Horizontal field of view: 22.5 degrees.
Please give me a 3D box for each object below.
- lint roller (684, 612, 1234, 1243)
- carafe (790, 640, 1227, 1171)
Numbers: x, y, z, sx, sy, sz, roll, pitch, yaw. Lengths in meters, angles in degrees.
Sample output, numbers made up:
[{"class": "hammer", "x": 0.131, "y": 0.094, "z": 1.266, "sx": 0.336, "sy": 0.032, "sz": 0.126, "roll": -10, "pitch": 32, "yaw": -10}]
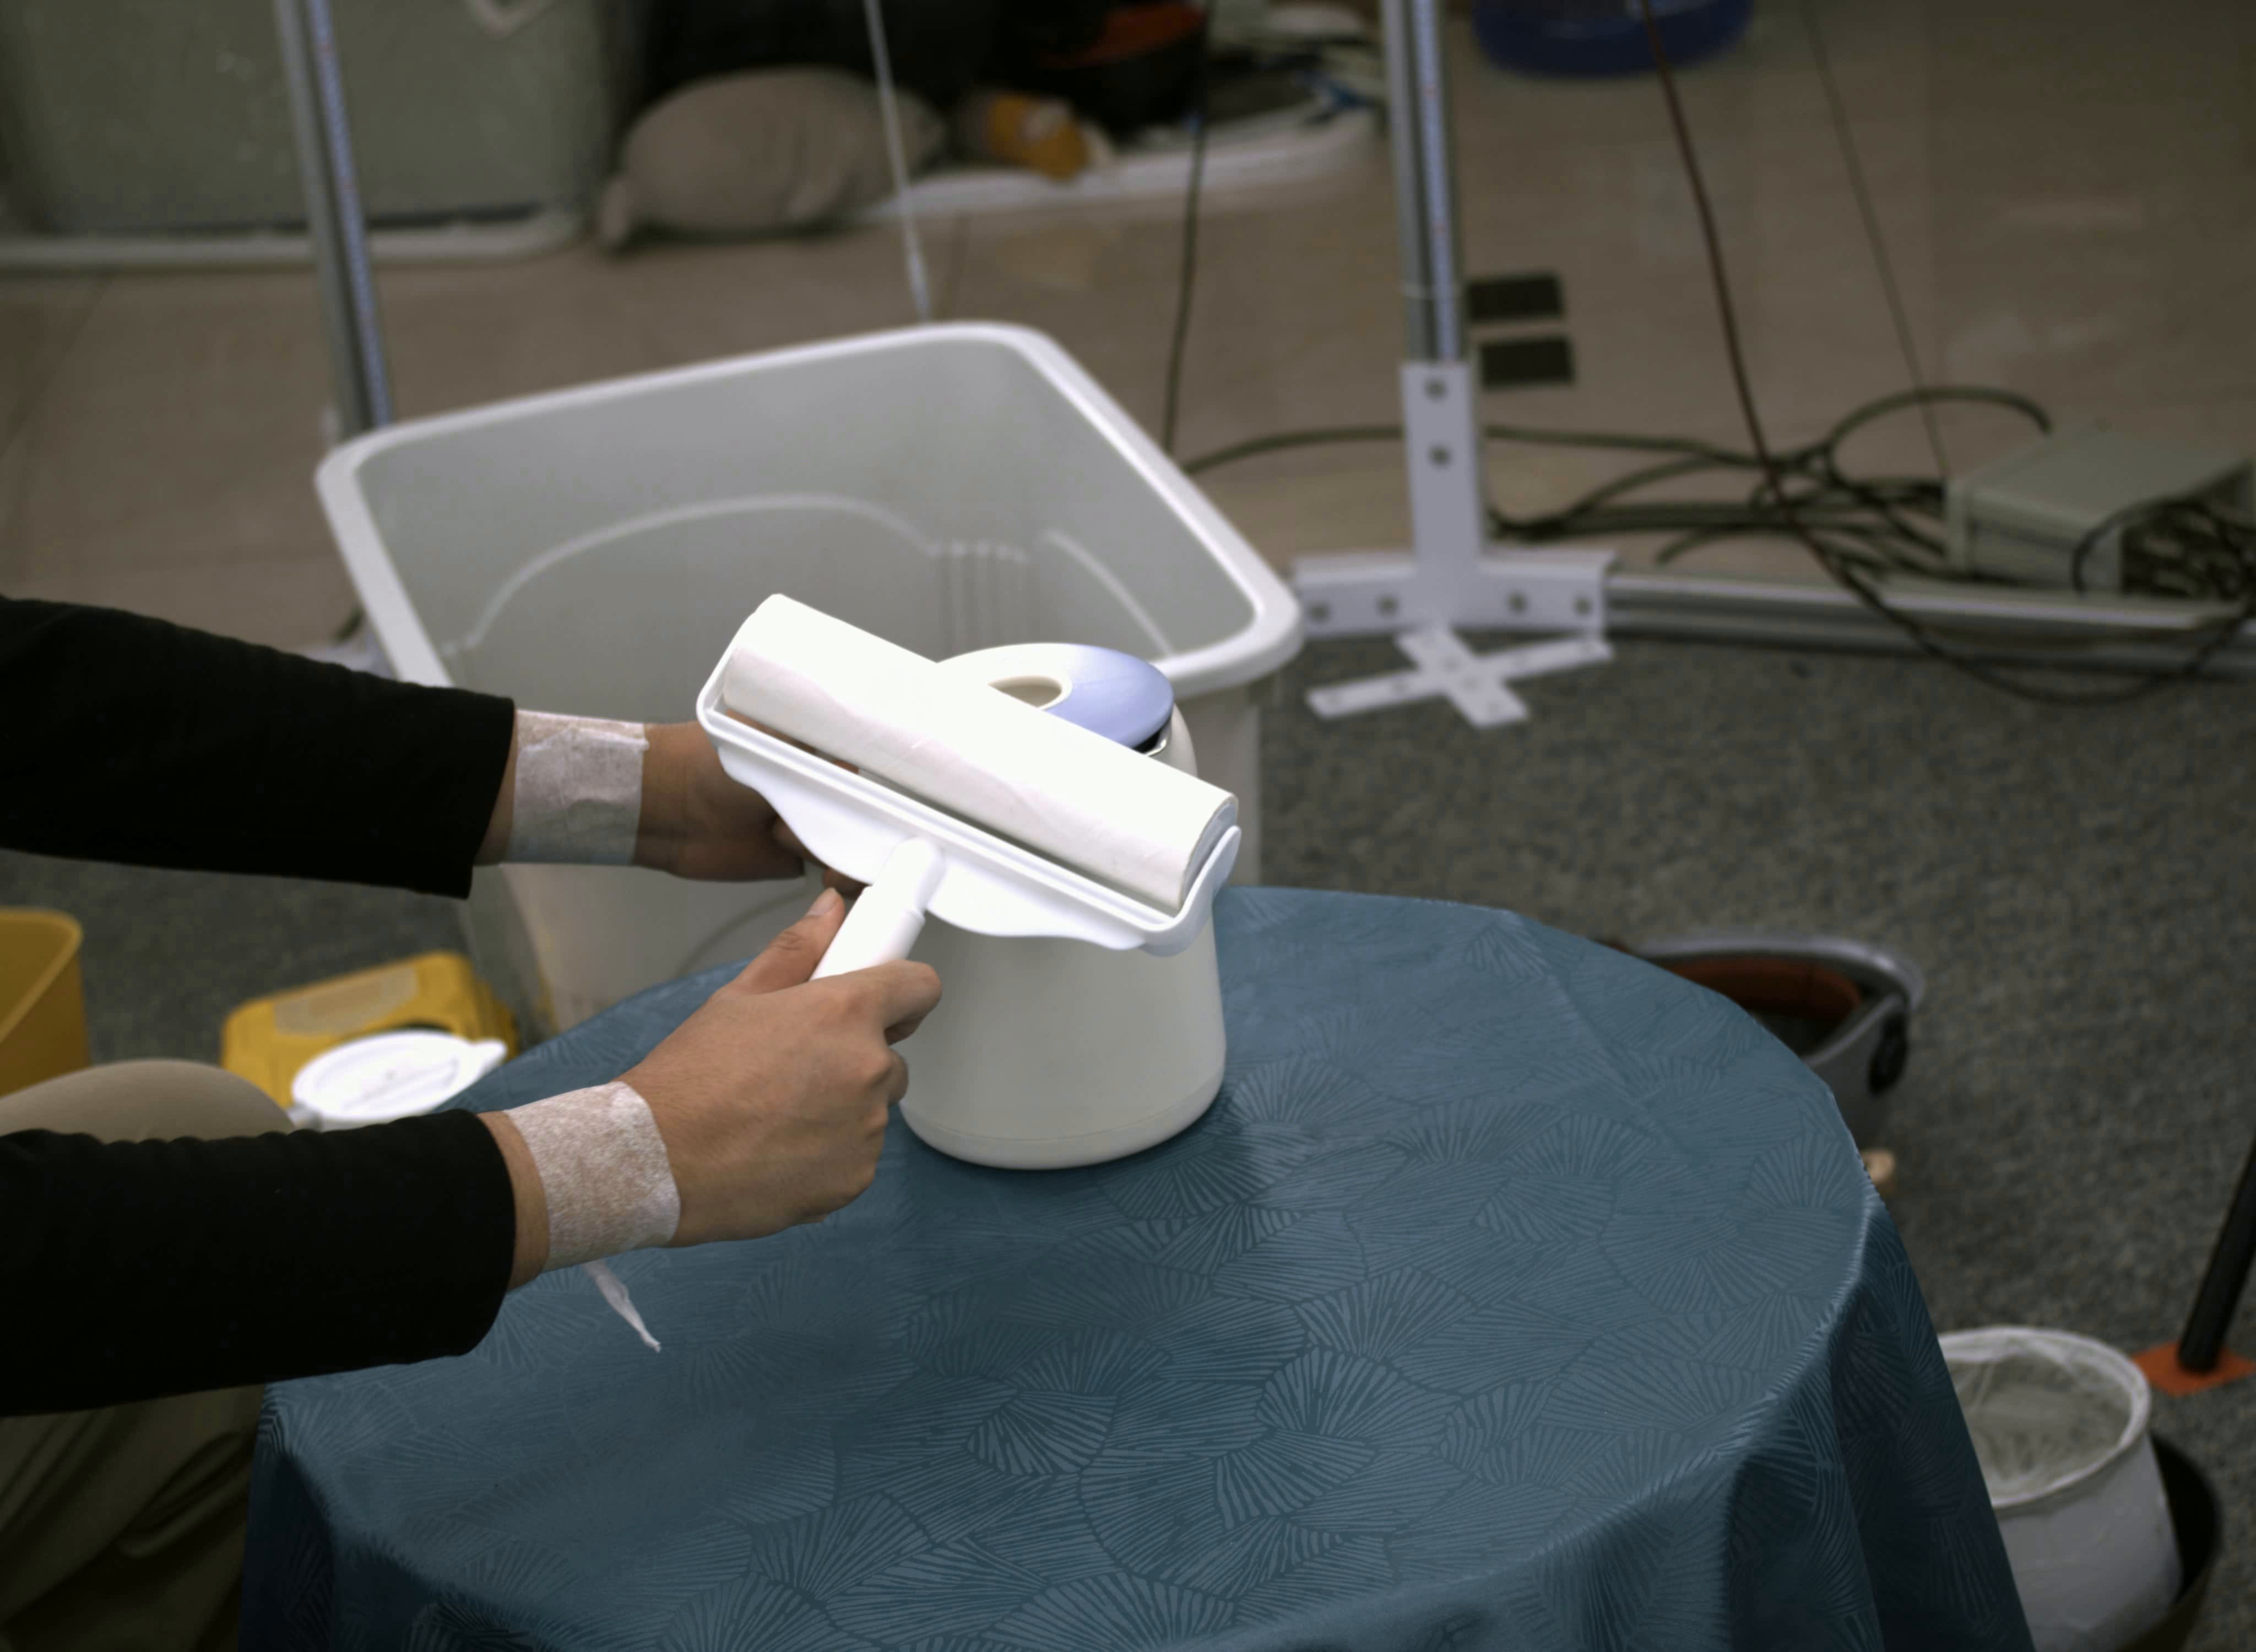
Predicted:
[{"class": "lint roller", "x": -0.097, "y": 0.049, "z": 2.026, "sx": 0.202, "sy": 0.049, "sz": 0.223, "roll": 24, "pitch": 69, "yaw": 14}, {"class": "carafe", "x": -0.053, "y": 0.026, "z": 2.196, "sx": 0.190, "sy": 0.185, "sz": 0.131, "roll": 11, "pitch": 30, "yaw": 35}]
